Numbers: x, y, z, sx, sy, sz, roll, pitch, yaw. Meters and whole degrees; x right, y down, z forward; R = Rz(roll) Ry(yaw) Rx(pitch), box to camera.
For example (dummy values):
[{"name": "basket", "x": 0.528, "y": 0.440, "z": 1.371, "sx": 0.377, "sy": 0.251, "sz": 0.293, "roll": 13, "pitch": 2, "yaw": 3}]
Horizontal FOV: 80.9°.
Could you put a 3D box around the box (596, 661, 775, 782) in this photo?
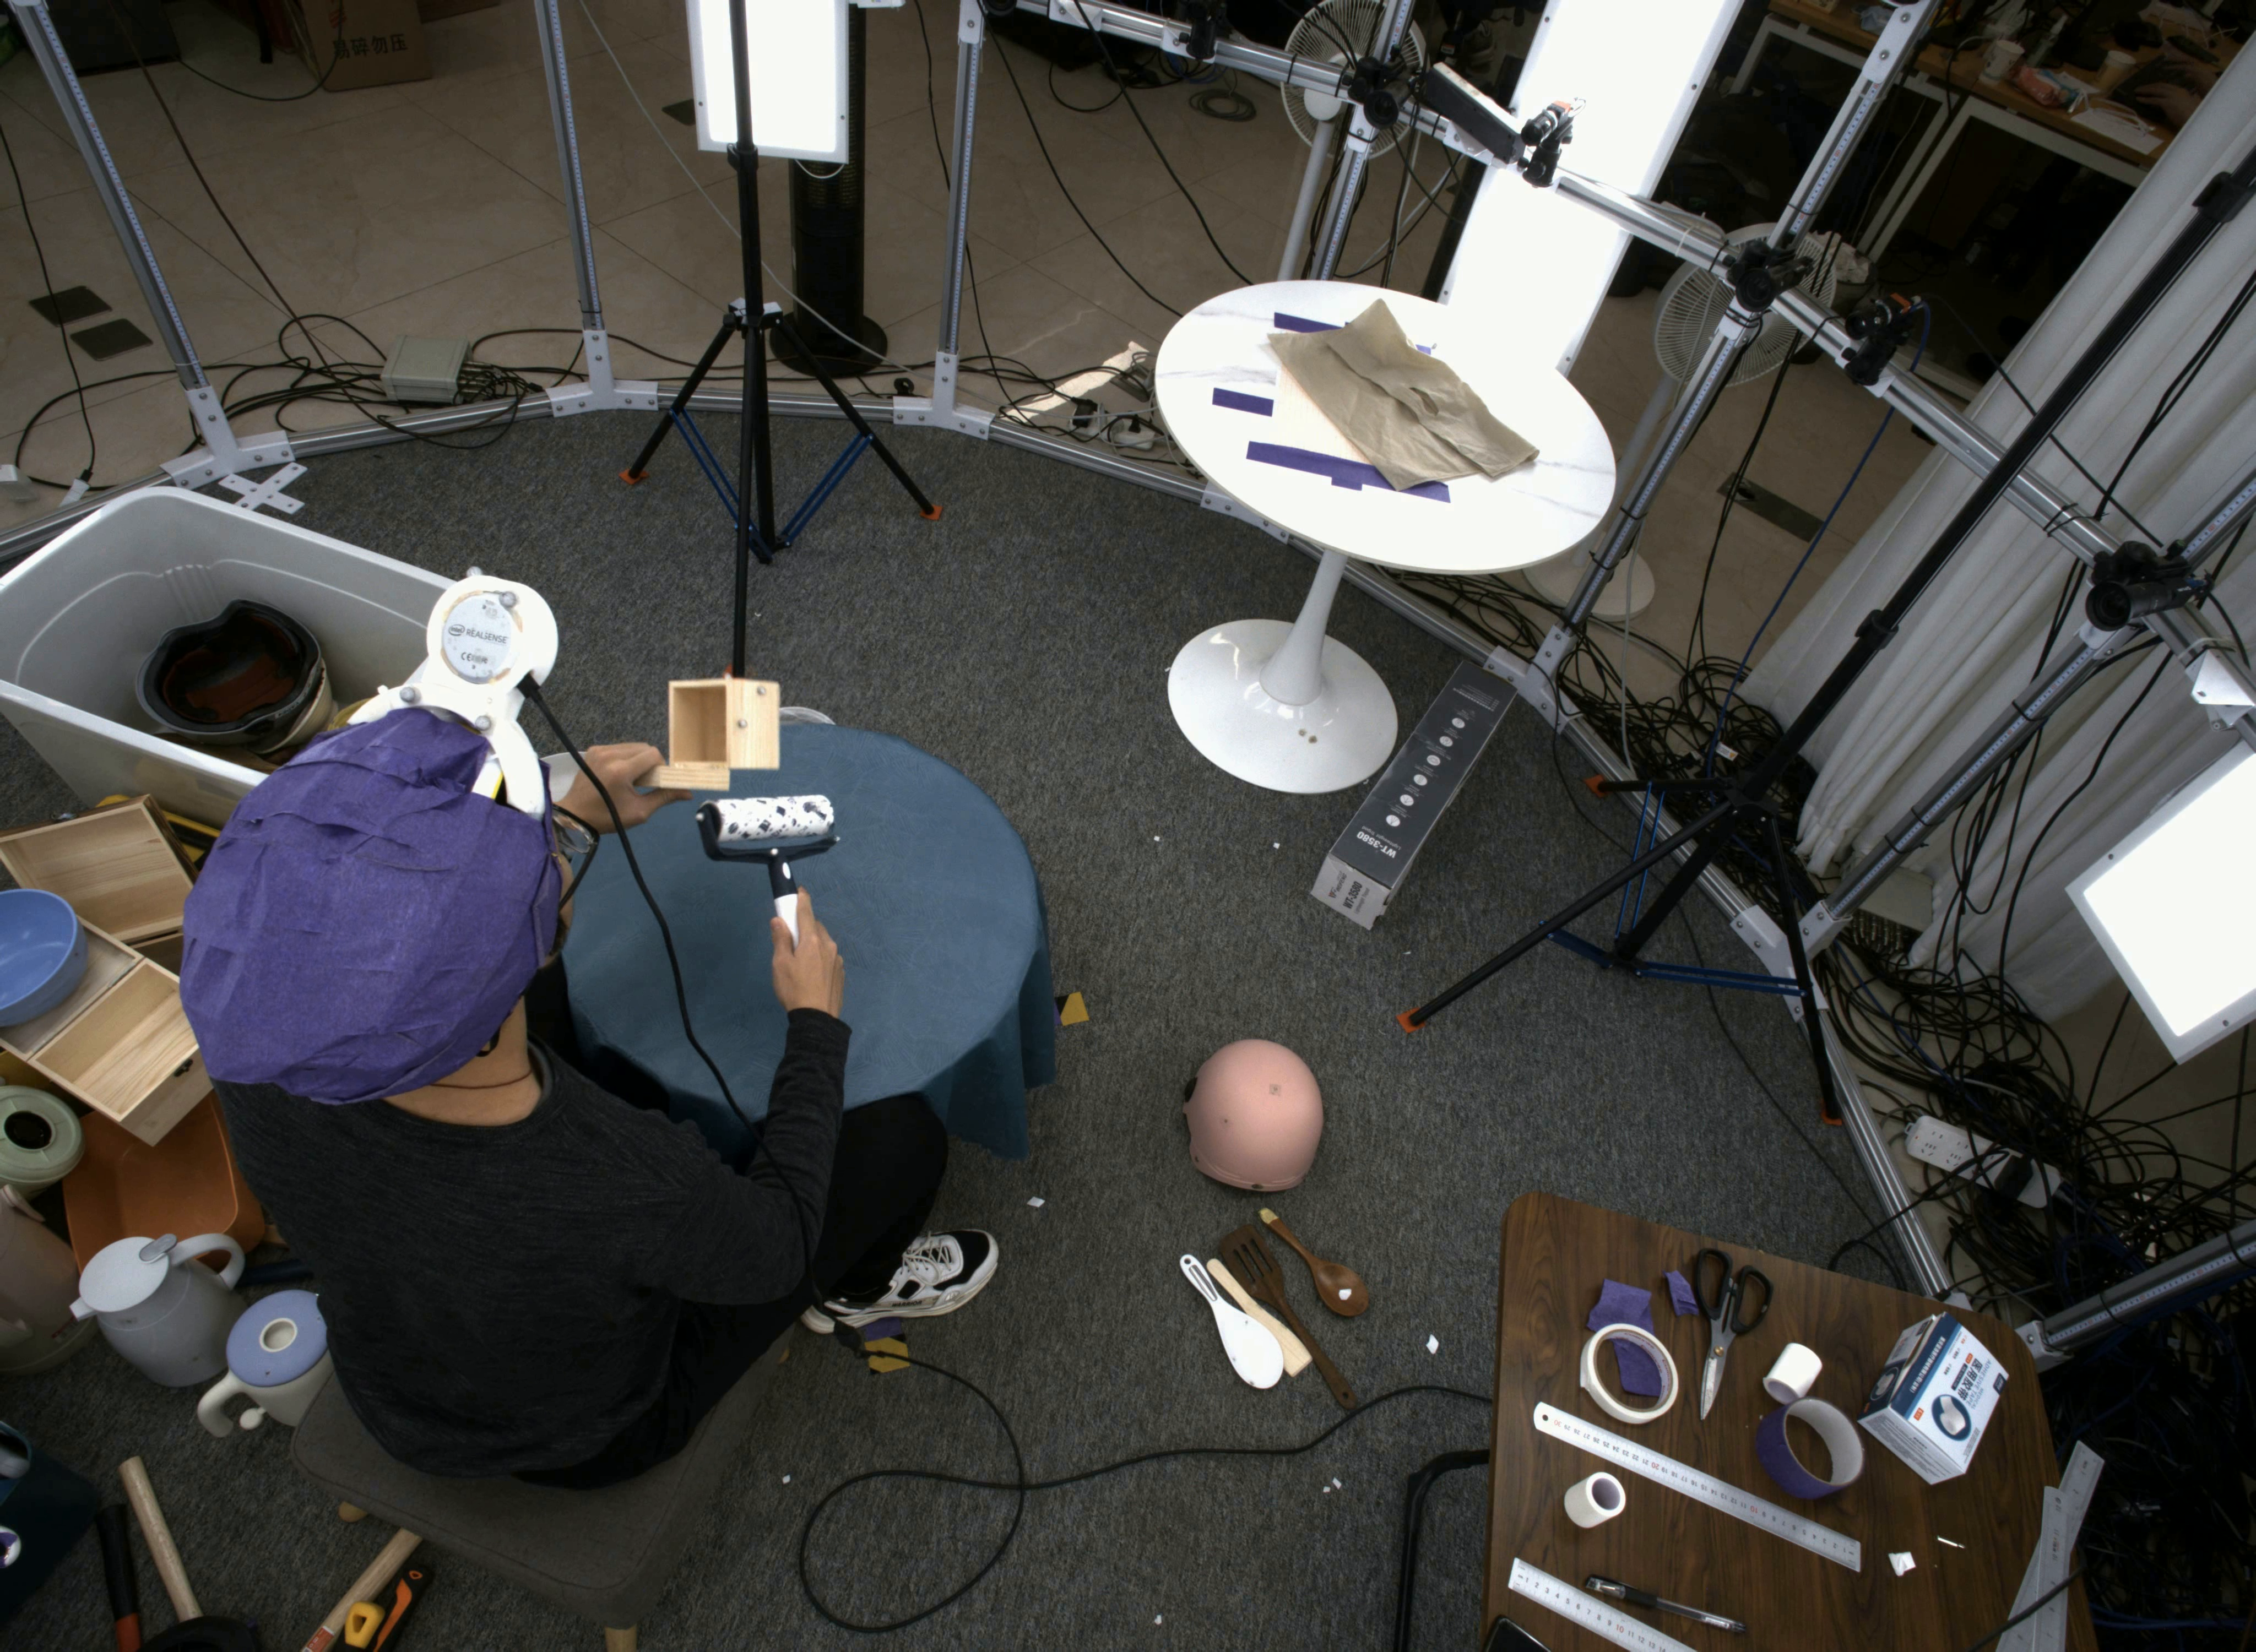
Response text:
[{"name": "box", "x": -0.498, "y": -0.118, "z": 1.438, "sx": 0.099, "sy": 0.136, "sz": 0.187, "roll": 1, "pitch": 4, "yaw": 29}]

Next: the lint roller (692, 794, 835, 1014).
[{"name": "lint roller", "x": -0.376, "y": 0.082, "z": 1.439, "sx": 0.179, "sy": 0.049, "sz": 0.247, "roll": -9, "pitch": 78, "yaw": -56}]
